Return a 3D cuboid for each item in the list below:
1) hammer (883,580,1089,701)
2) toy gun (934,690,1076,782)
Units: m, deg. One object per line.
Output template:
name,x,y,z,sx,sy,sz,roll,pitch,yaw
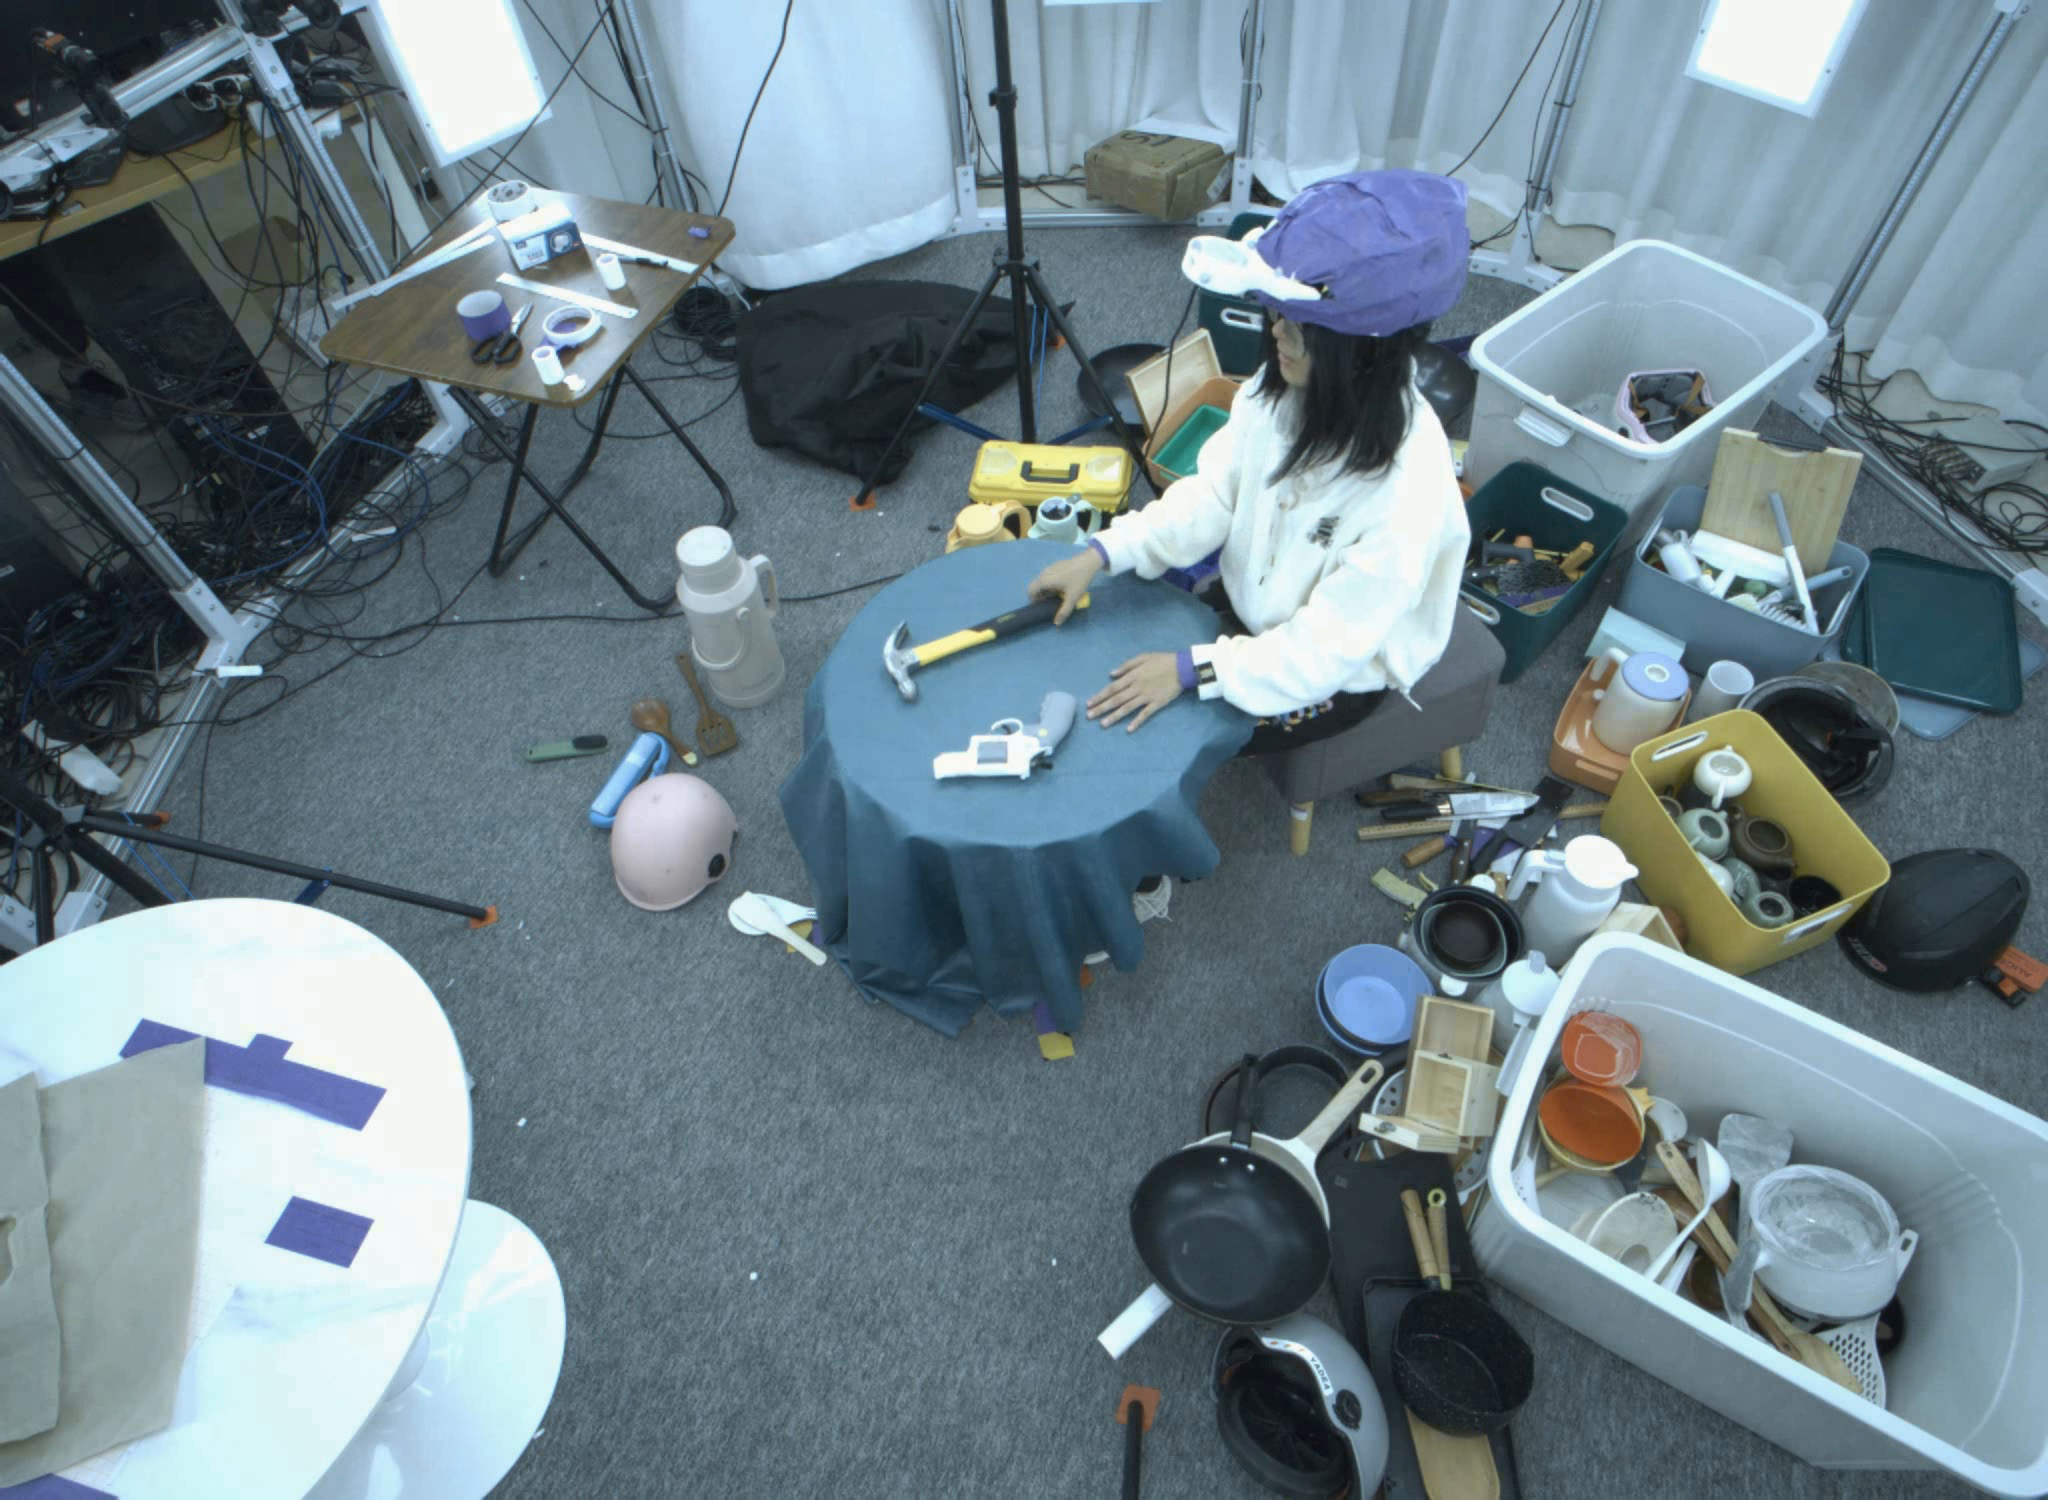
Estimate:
hammer,-0.057,-0.188,1.897,0.340,0.032,0.129,-23,55,-11
toy gun,-0.025,-0.019,1.778,0.209,0.039,0.140,-3,55,0
